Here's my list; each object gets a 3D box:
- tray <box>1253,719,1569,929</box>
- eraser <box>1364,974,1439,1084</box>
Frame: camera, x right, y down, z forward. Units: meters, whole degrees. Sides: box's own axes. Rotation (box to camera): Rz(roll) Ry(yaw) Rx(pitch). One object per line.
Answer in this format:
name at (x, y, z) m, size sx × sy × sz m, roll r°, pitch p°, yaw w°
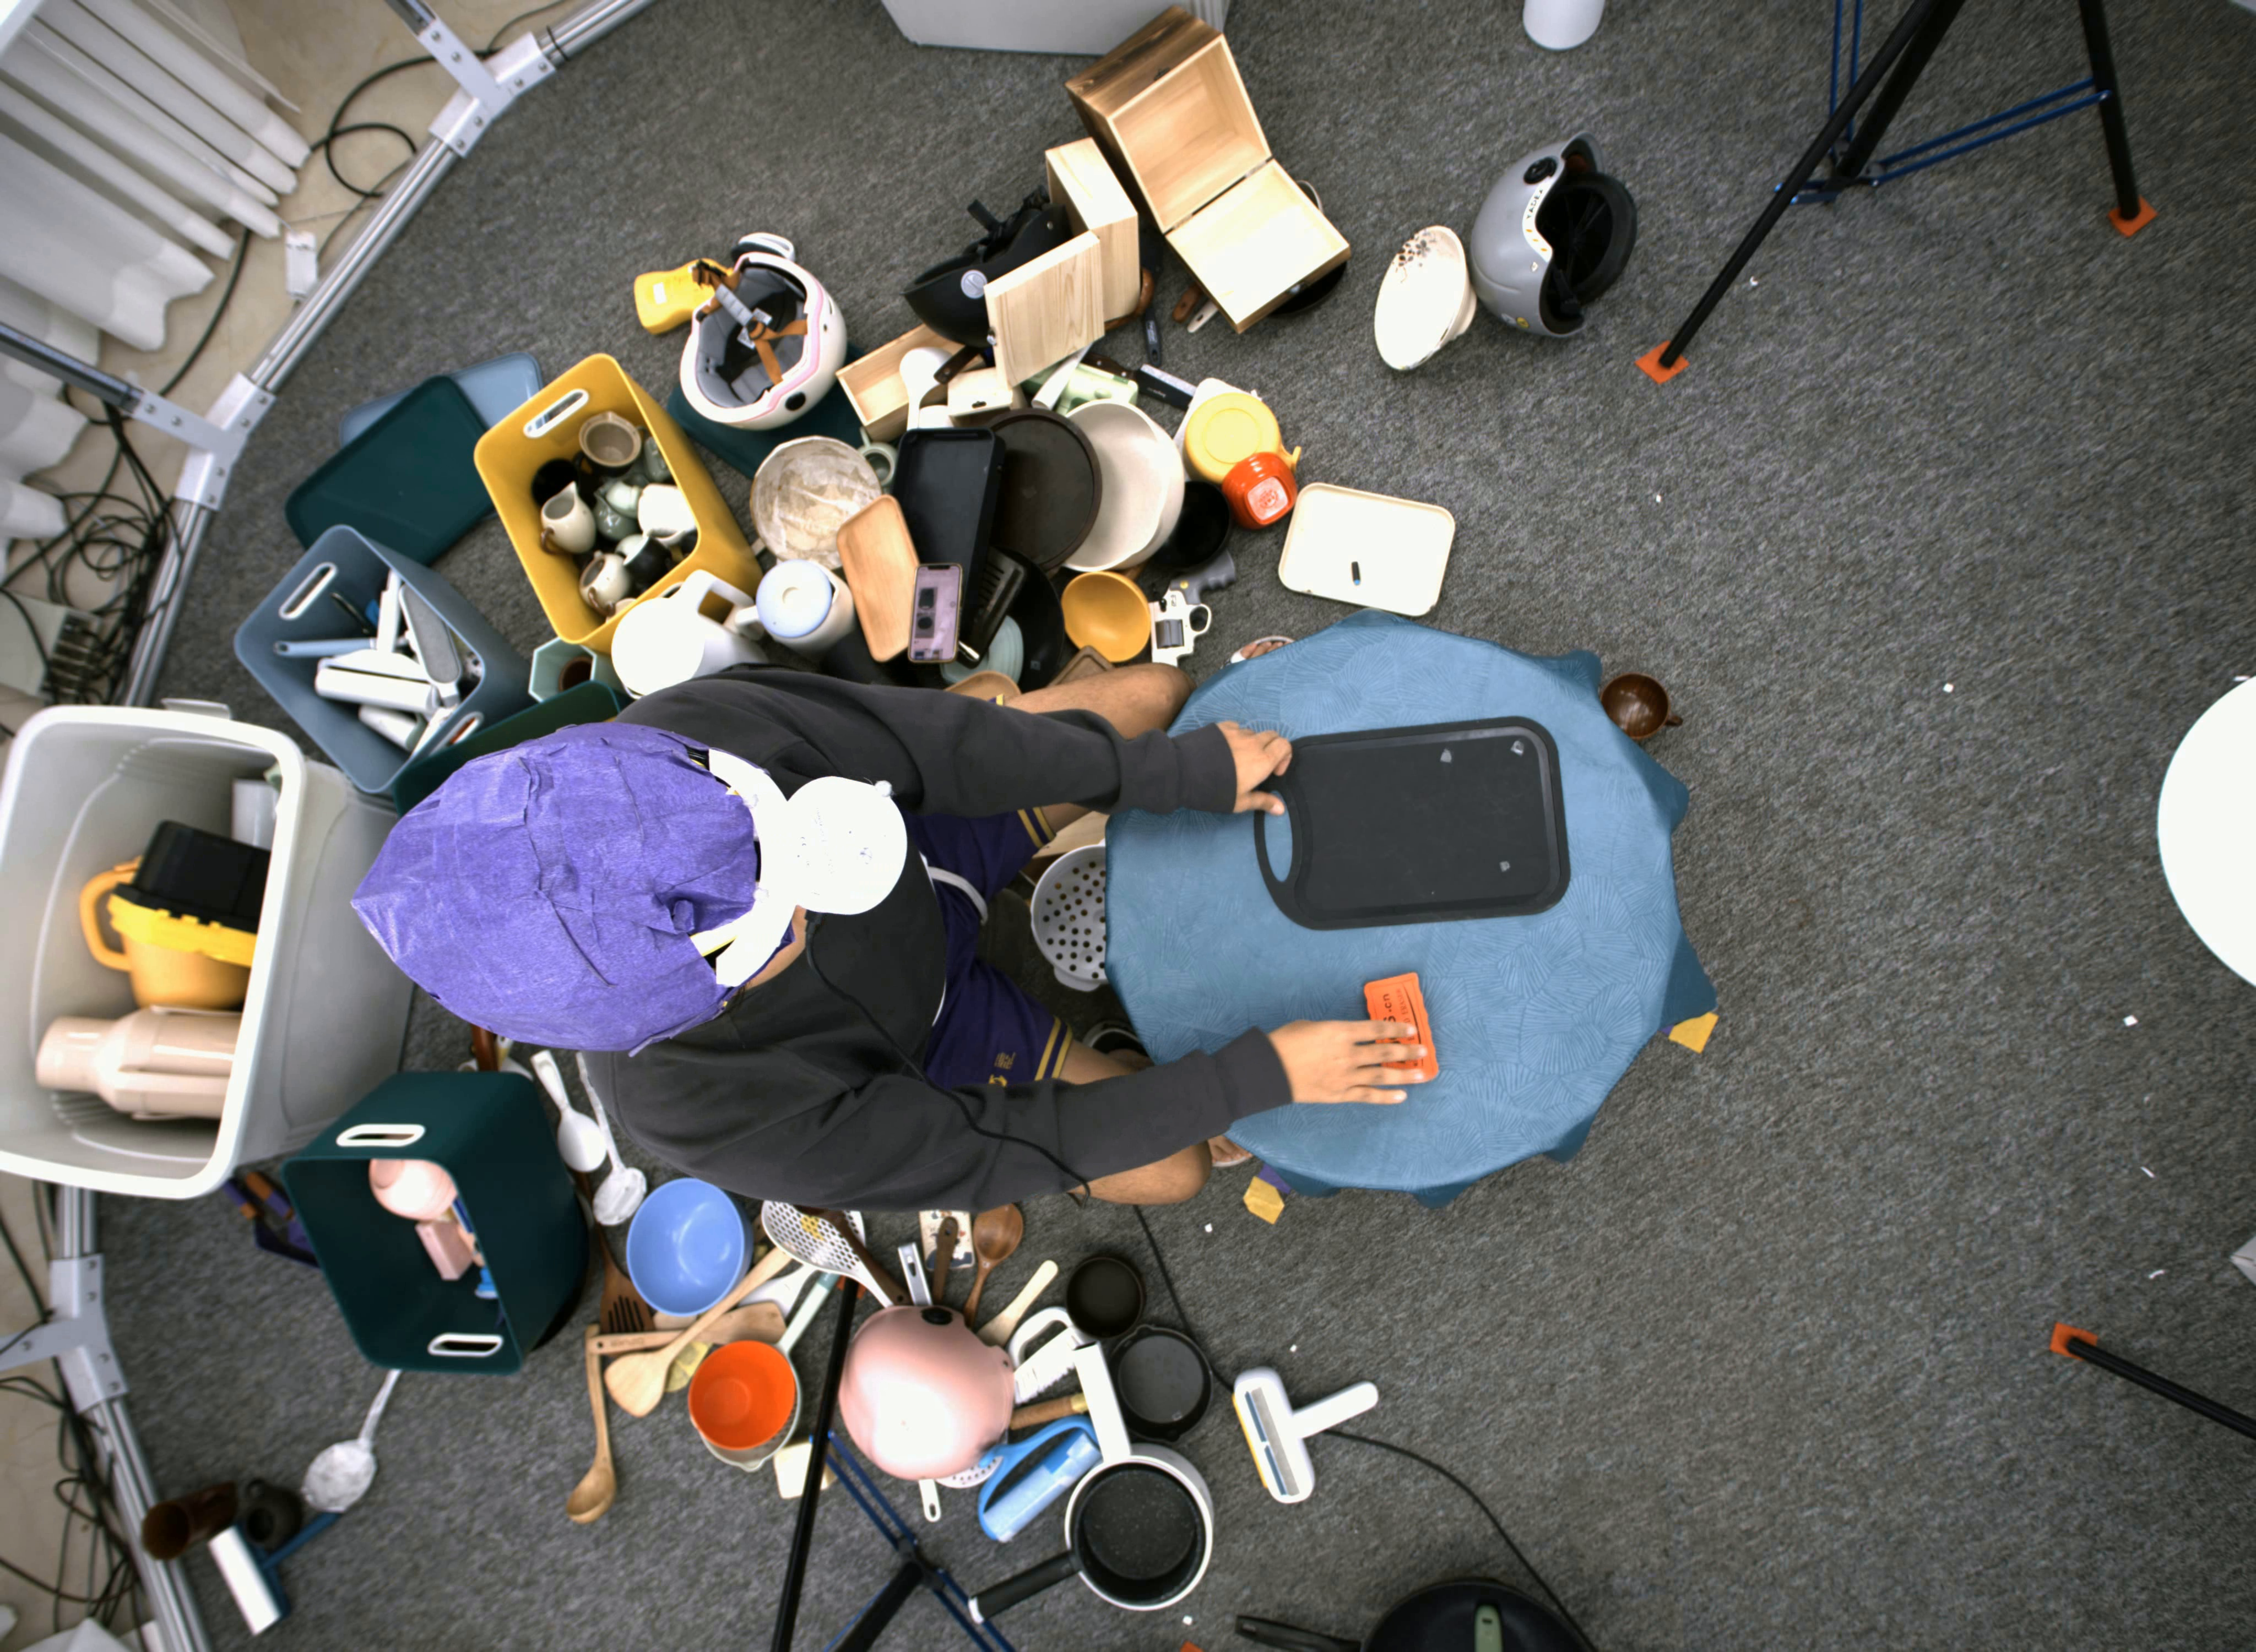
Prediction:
tray at (0.295, -0.002, 1.456) m, size 0.327 × 0.010 × 0.210 m, roll -5°, pitch 86°, yaw 10°
eraser at (0.283, 0.209, 1.434) m, size 0.059 × 0.023 × 0.107 m, roll -13°, pitch 83°, yaw 8°
